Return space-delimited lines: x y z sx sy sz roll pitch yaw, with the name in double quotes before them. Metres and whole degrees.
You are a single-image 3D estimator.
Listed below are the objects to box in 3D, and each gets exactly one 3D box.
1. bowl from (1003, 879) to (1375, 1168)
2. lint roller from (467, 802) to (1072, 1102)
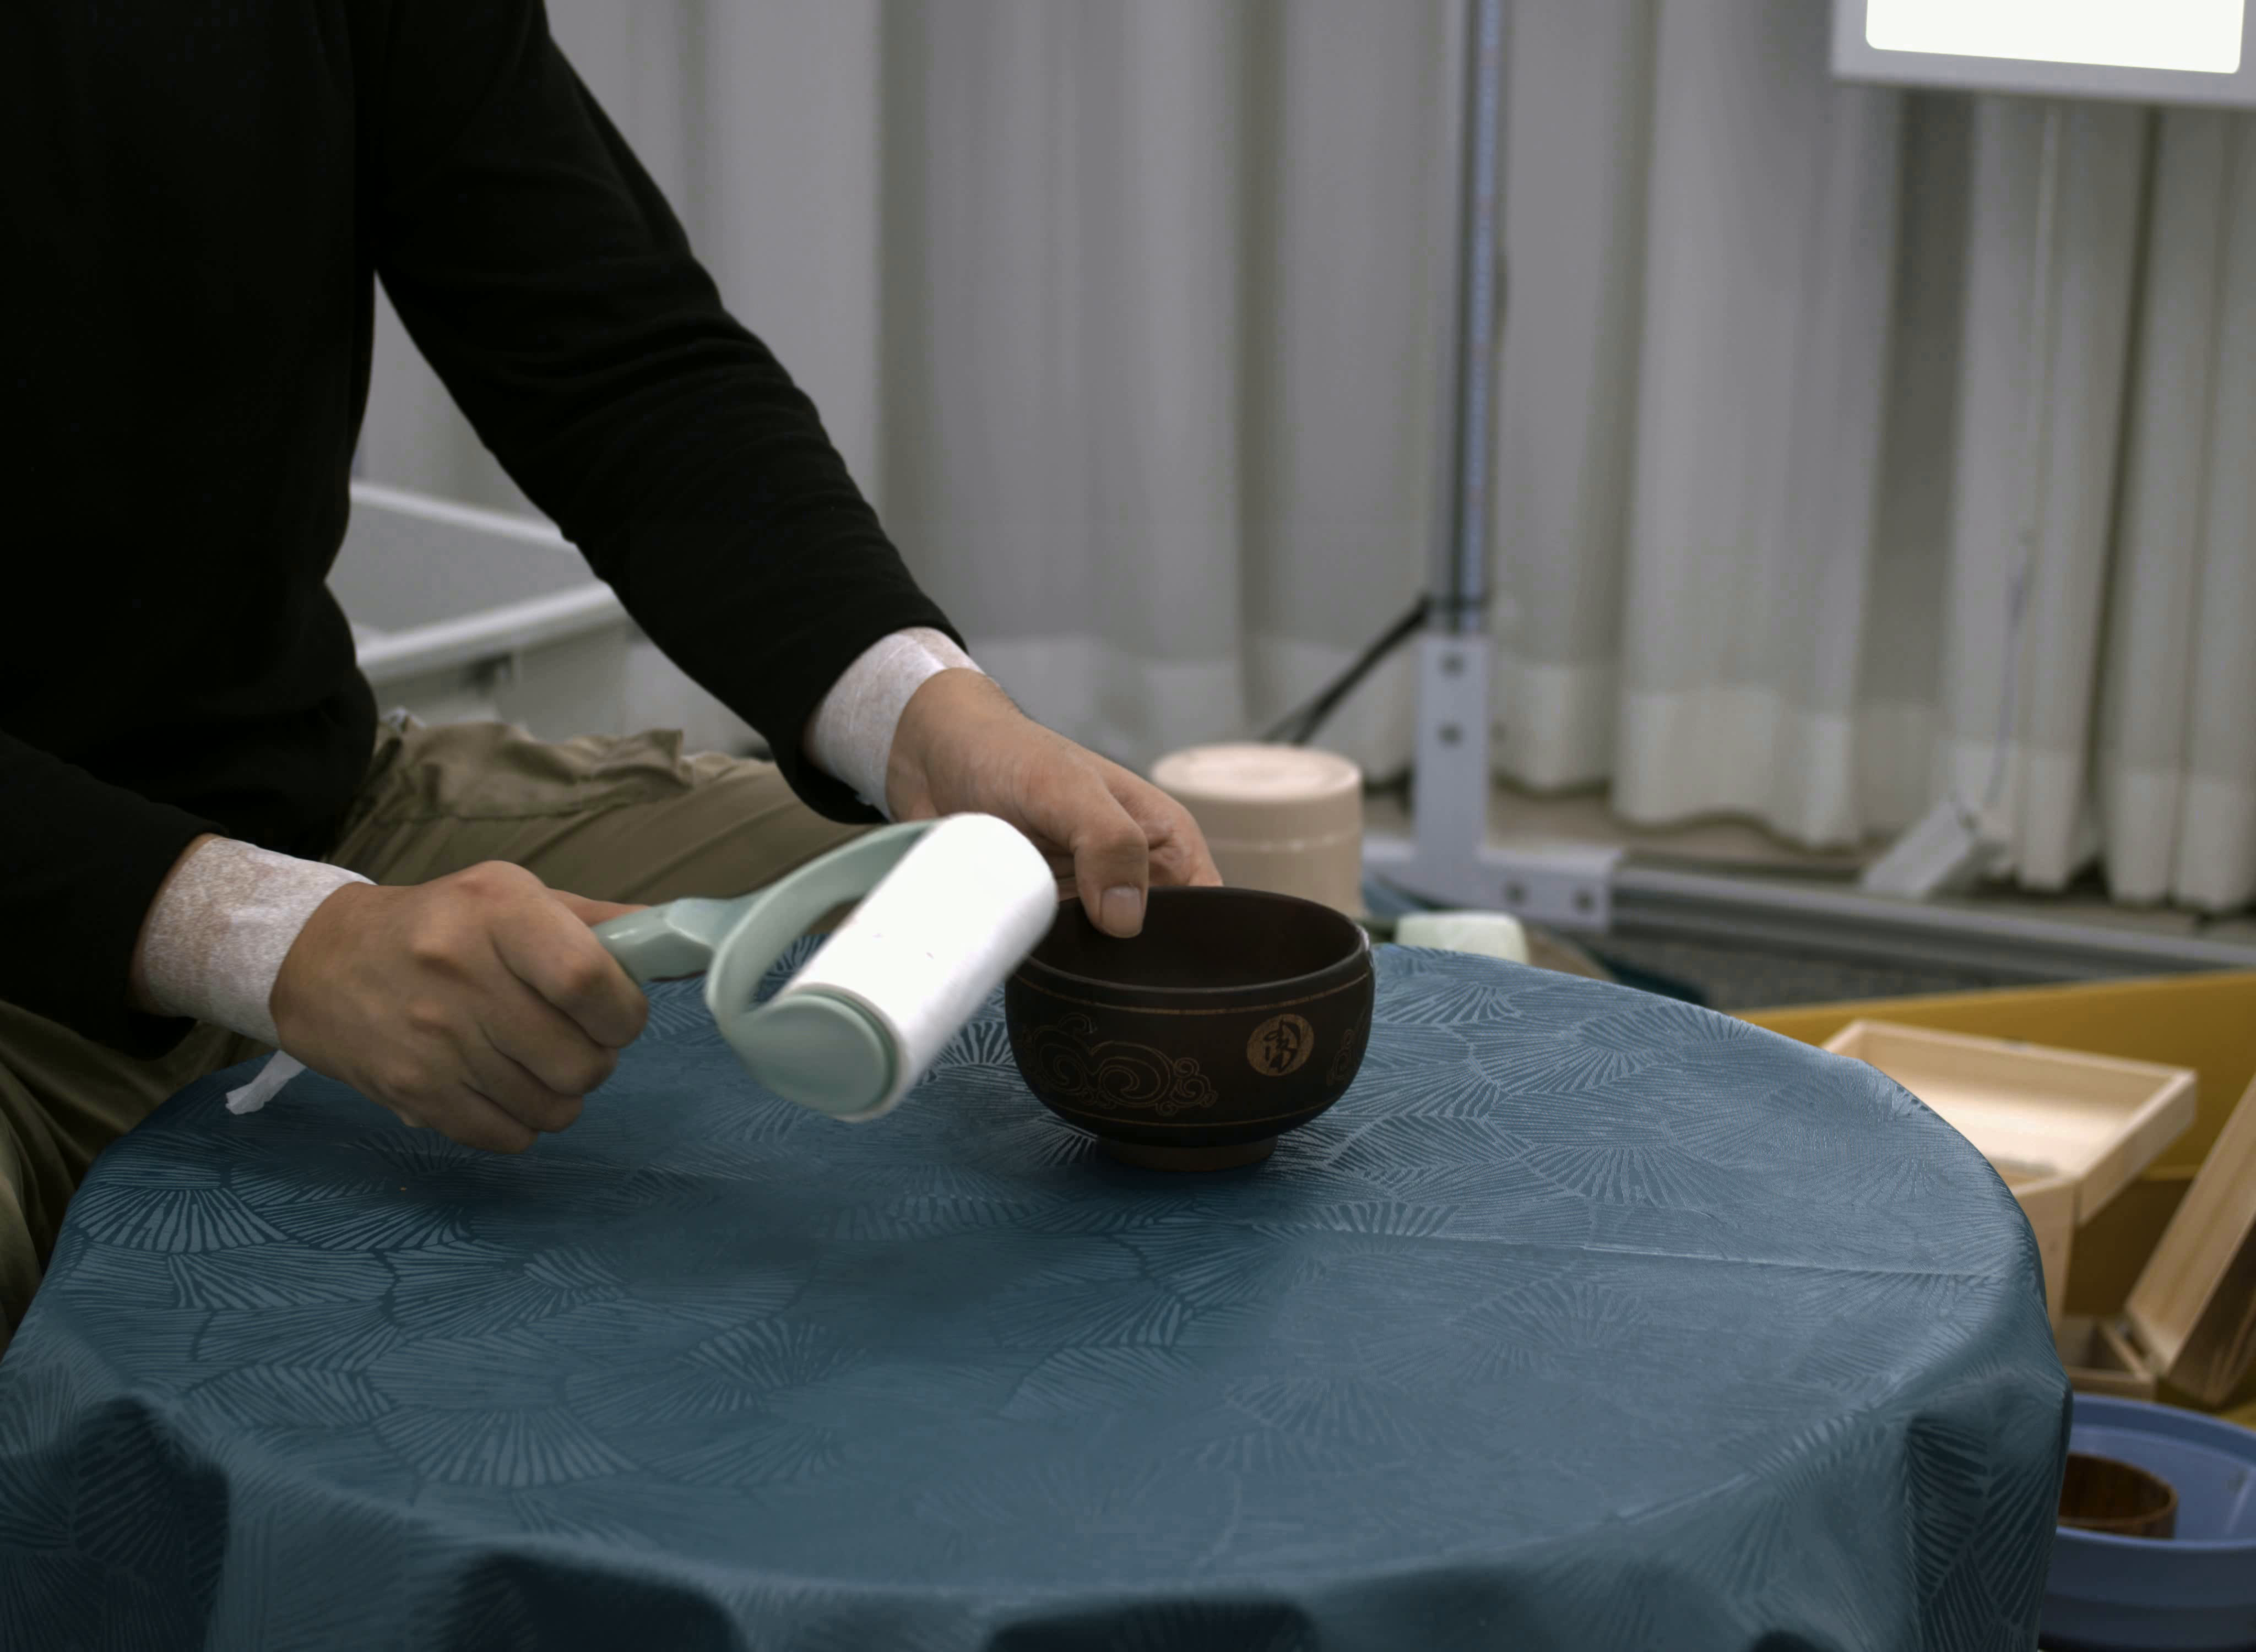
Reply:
"bowl" 0.019 0.066 1.655 0.117 0.070 0.117 -1 16 1
"lint roller" -0.120 0.043 1.579 0.195 0.049 0.116 -5 27 30
